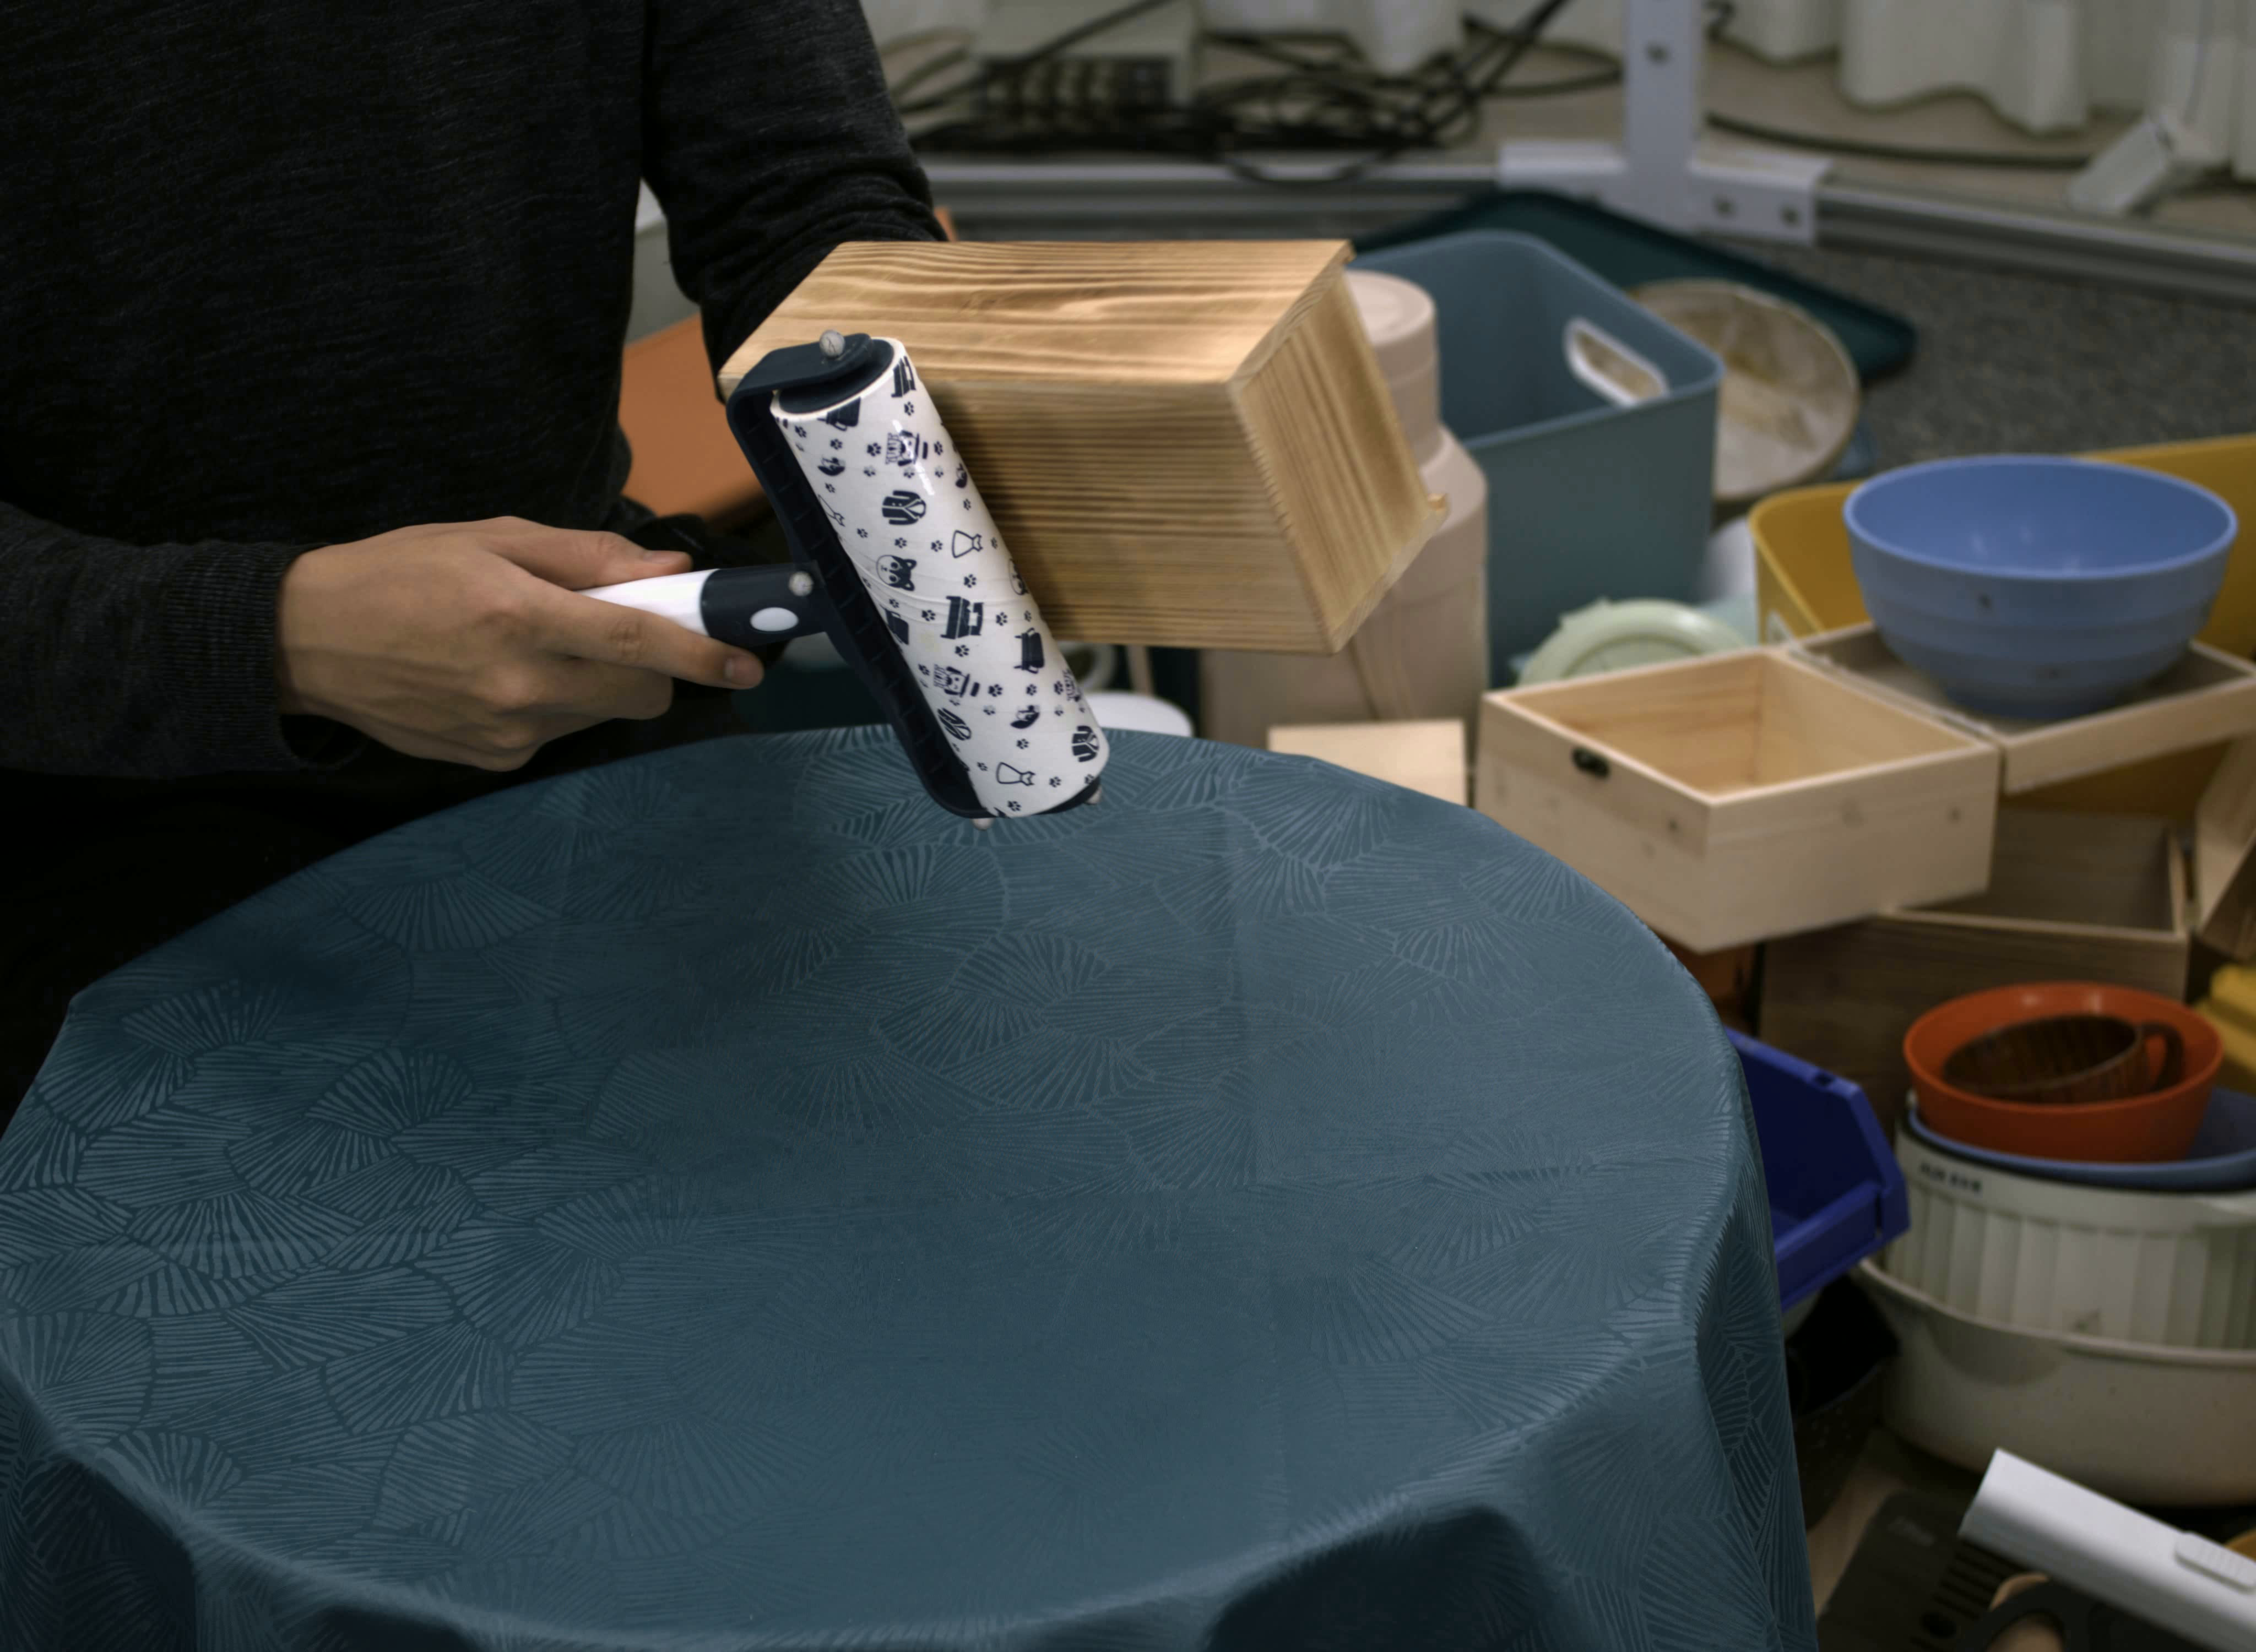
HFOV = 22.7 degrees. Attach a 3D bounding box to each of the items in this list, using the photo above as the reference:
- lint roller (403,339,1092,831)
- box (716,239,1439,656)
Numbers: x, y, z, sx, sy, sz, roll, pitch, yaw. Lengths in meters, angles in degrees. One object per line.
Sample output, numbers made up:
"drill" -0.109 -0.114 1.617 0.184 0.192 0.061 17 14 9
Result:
"lint roller" -0.145 -0.064 1.869 0.244 0.175 0.051 -9 30 31
"box" -0.018 -0.125 1.837 0.209 0.106 0.081 4 40 38
